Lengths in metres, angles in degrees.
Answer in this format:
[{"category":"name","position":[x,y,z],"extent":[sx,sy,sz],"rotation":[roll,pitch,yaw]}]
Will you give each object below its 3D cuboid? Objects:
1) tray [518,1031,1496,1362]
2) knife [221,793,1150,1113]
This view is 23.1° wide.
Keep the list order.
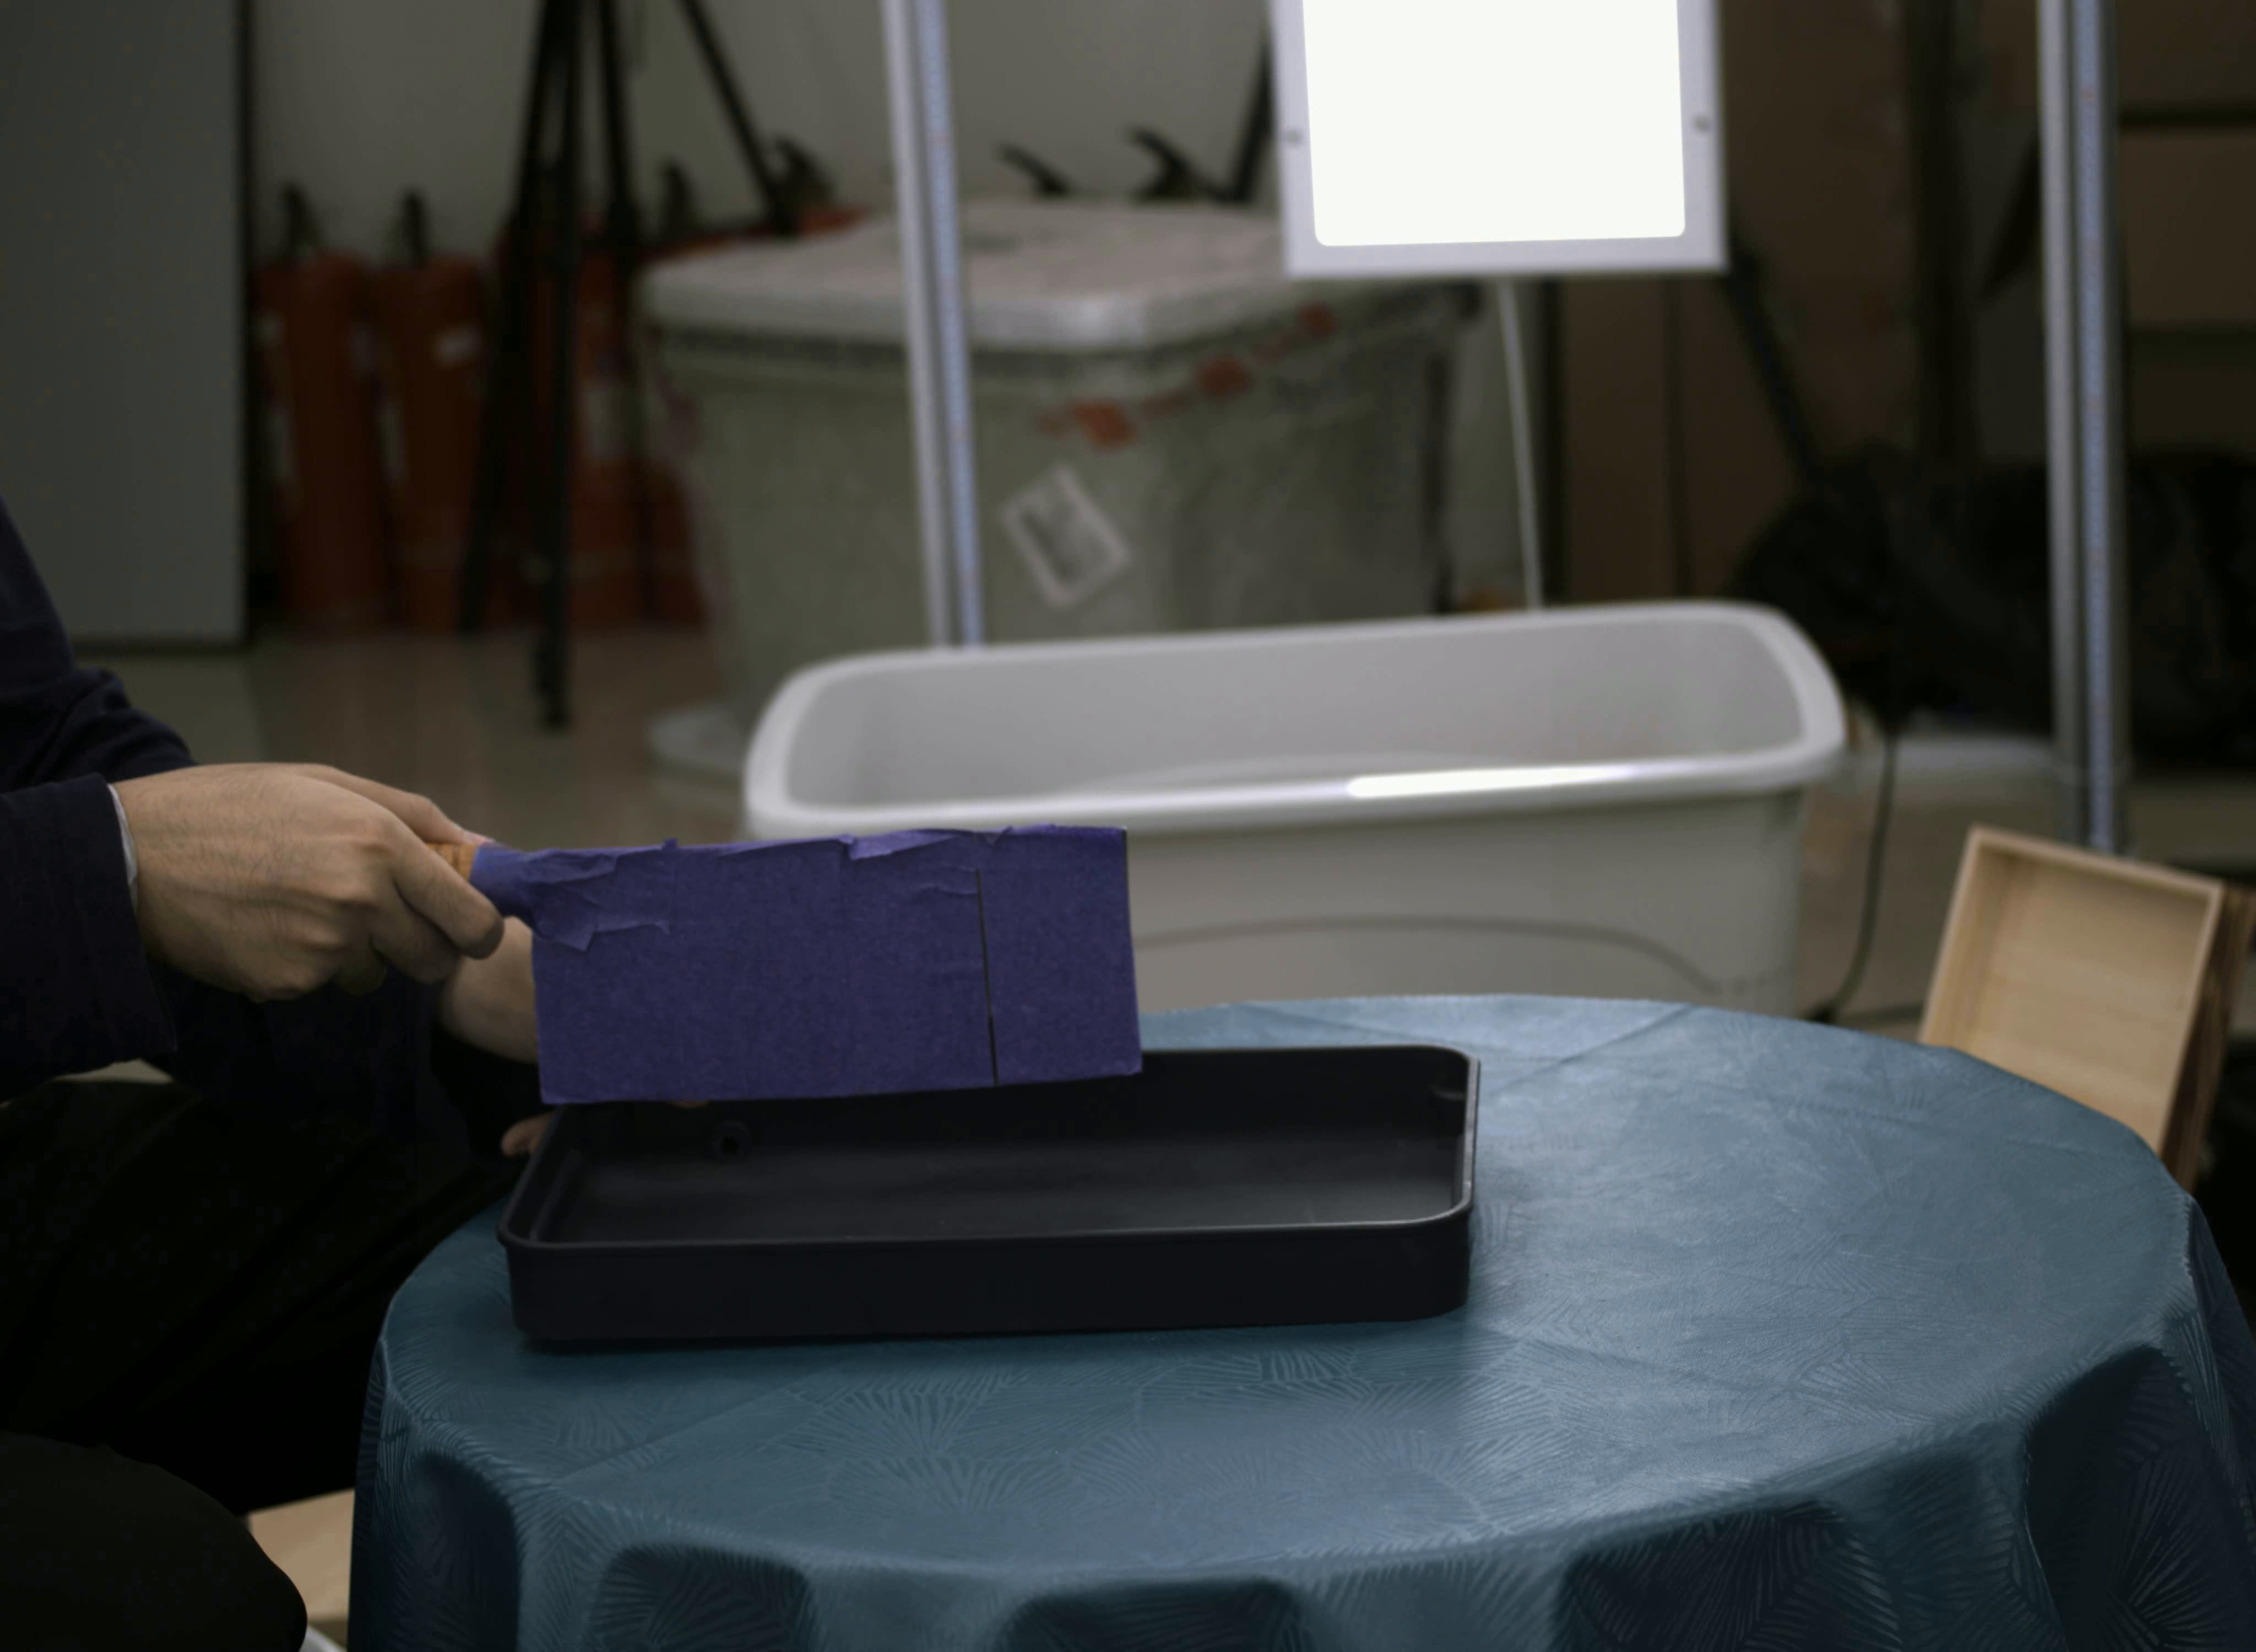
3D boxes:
[{"category":"tray","position":[-0.035,0.122,1.842],"extent":[0.319,0.037,0.183],"rotation":[-4,17,6]},{"category":"knife","position":[-0.150,0.049,1.885],"extent":[0.315,0.104,0.032],"rotation":[-3,10,3]}]
